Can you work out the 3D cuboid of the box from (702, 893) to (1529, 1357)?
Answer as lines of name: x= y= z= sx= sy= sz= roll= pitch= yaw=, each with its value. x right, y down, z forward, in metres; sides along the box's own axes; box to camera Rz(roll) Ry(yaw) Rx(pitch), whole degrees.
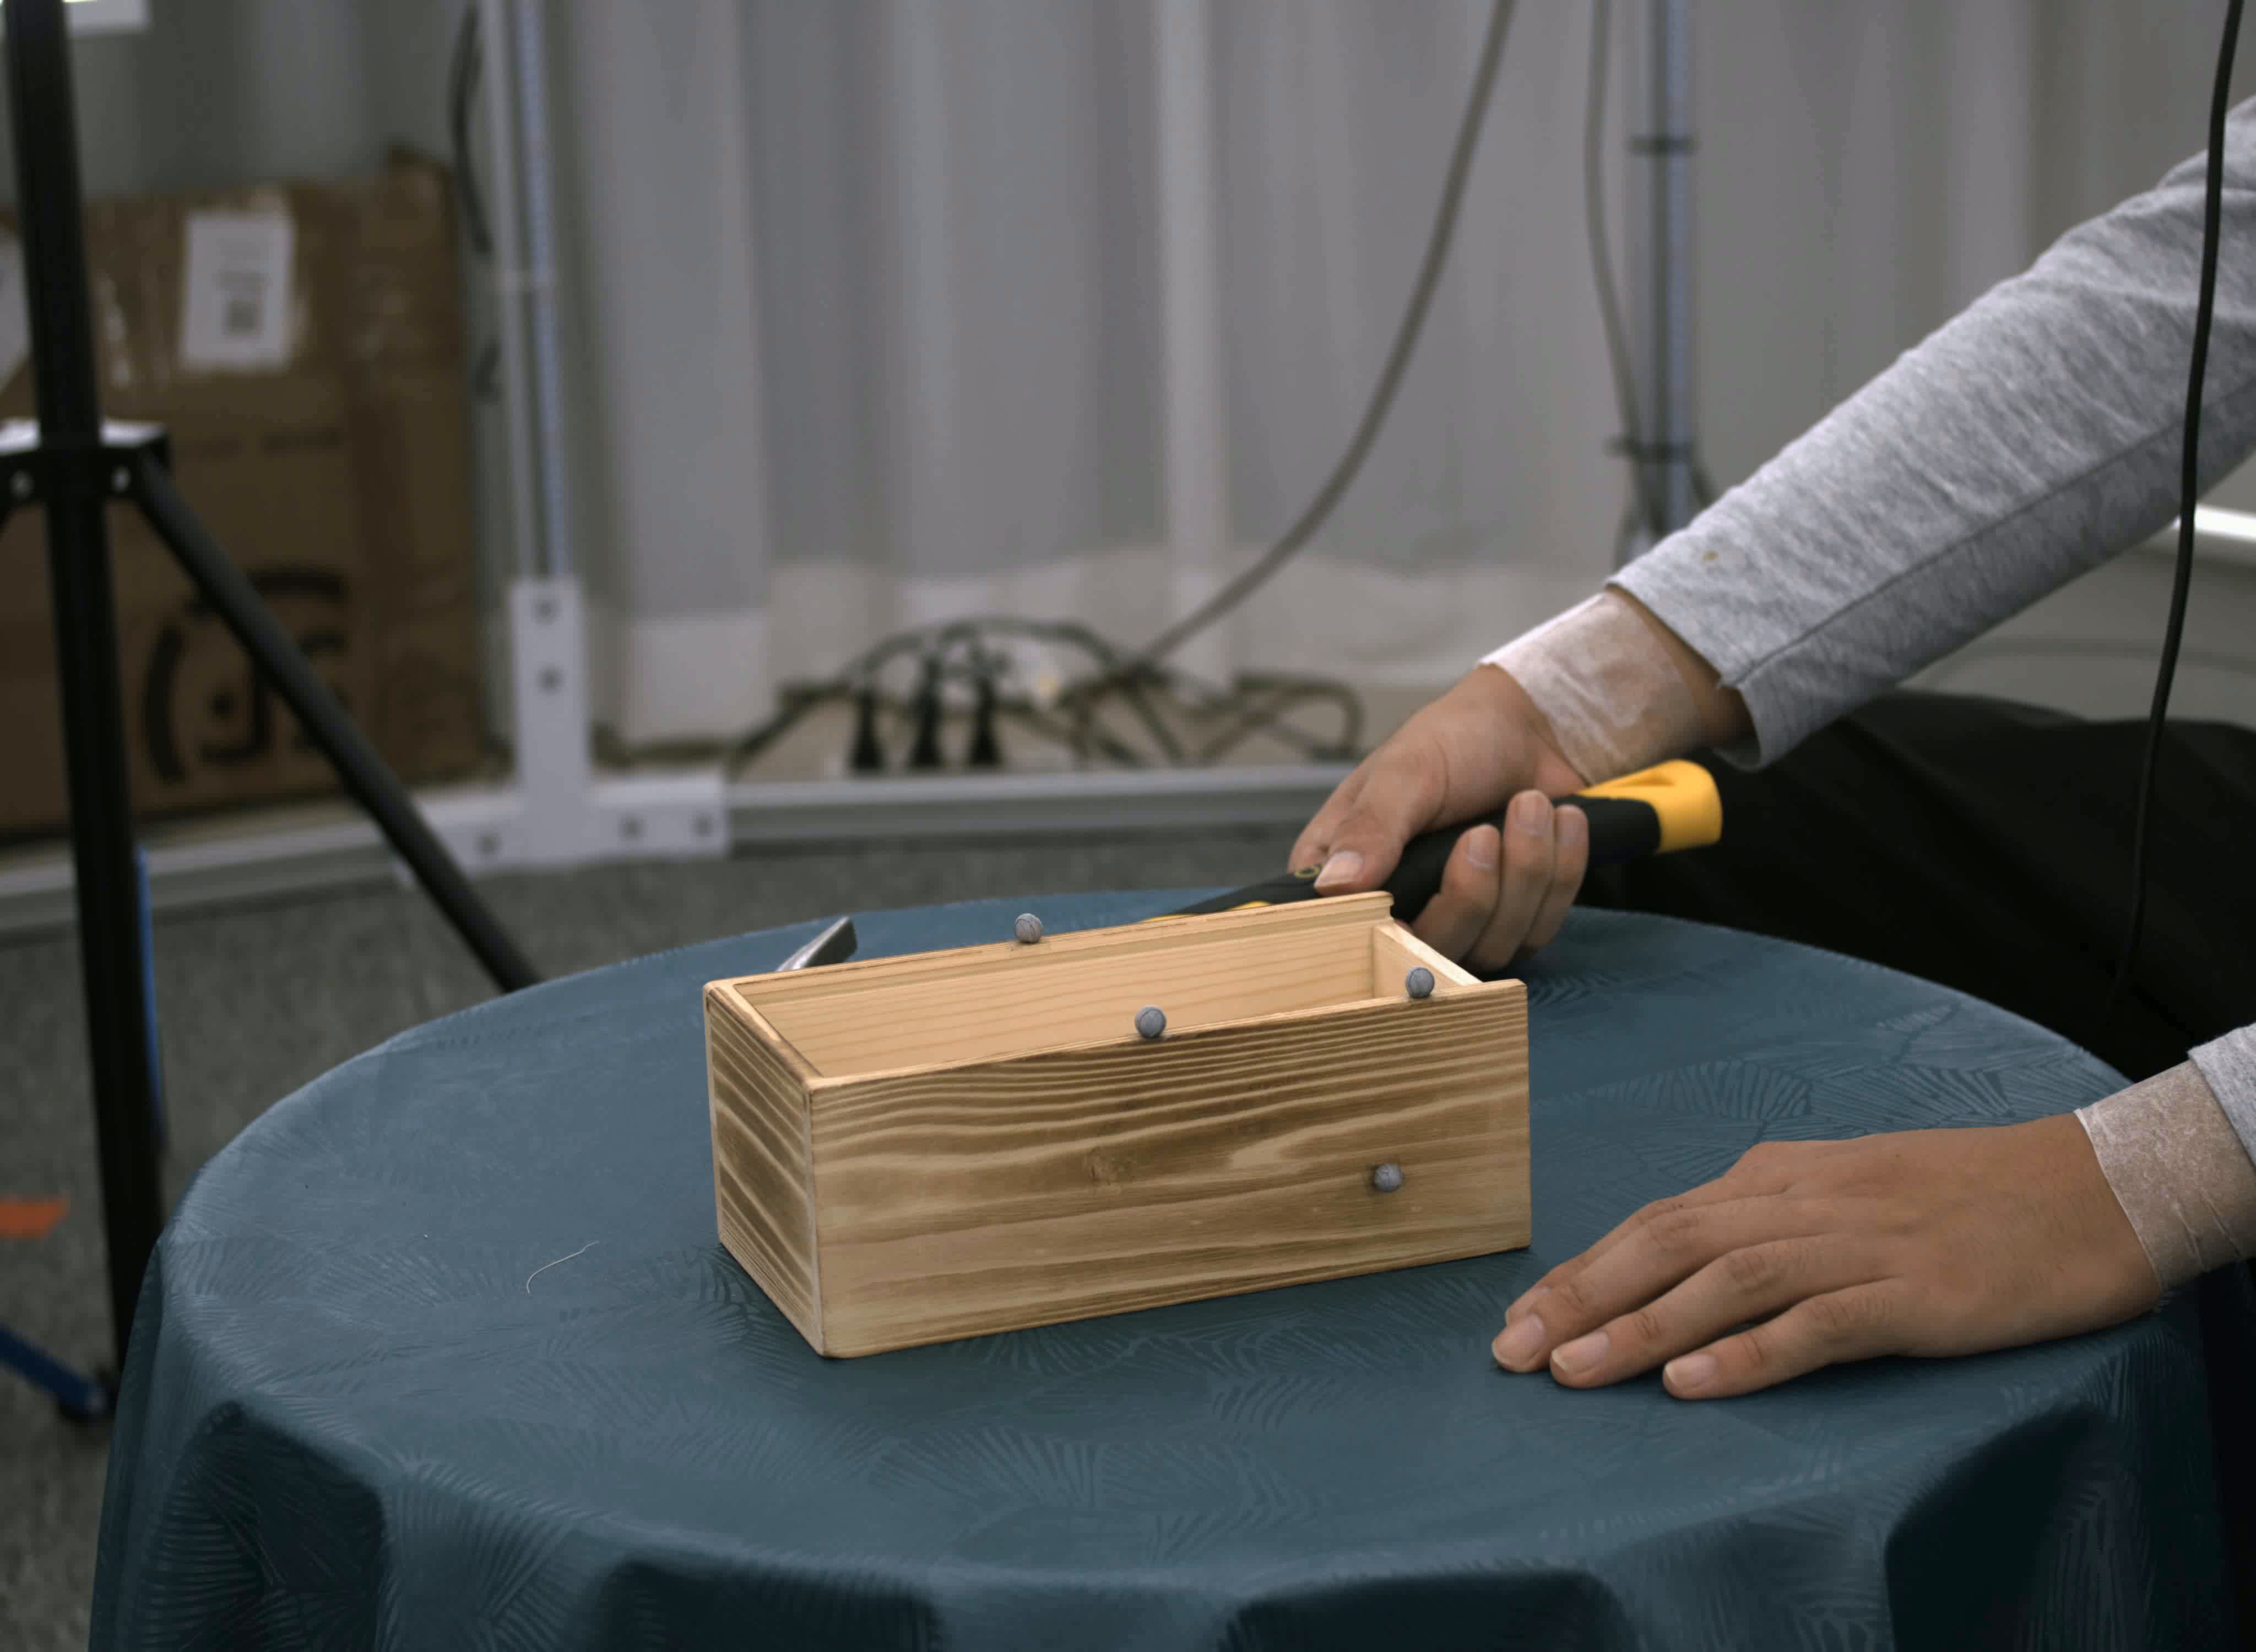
box: x=-0.004 y=0.082 z=1.504 sx=0.208 sy=0.080 sz=0.109 roll=-8 pitch=15 yaw=-17

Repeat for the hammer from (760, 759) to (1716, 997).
hammer: x=0.039 y=0.031 z=1.706 sx=0.333 sy=0.032 sz=0.134 roll=-16 pitch=18 yaw=-20
